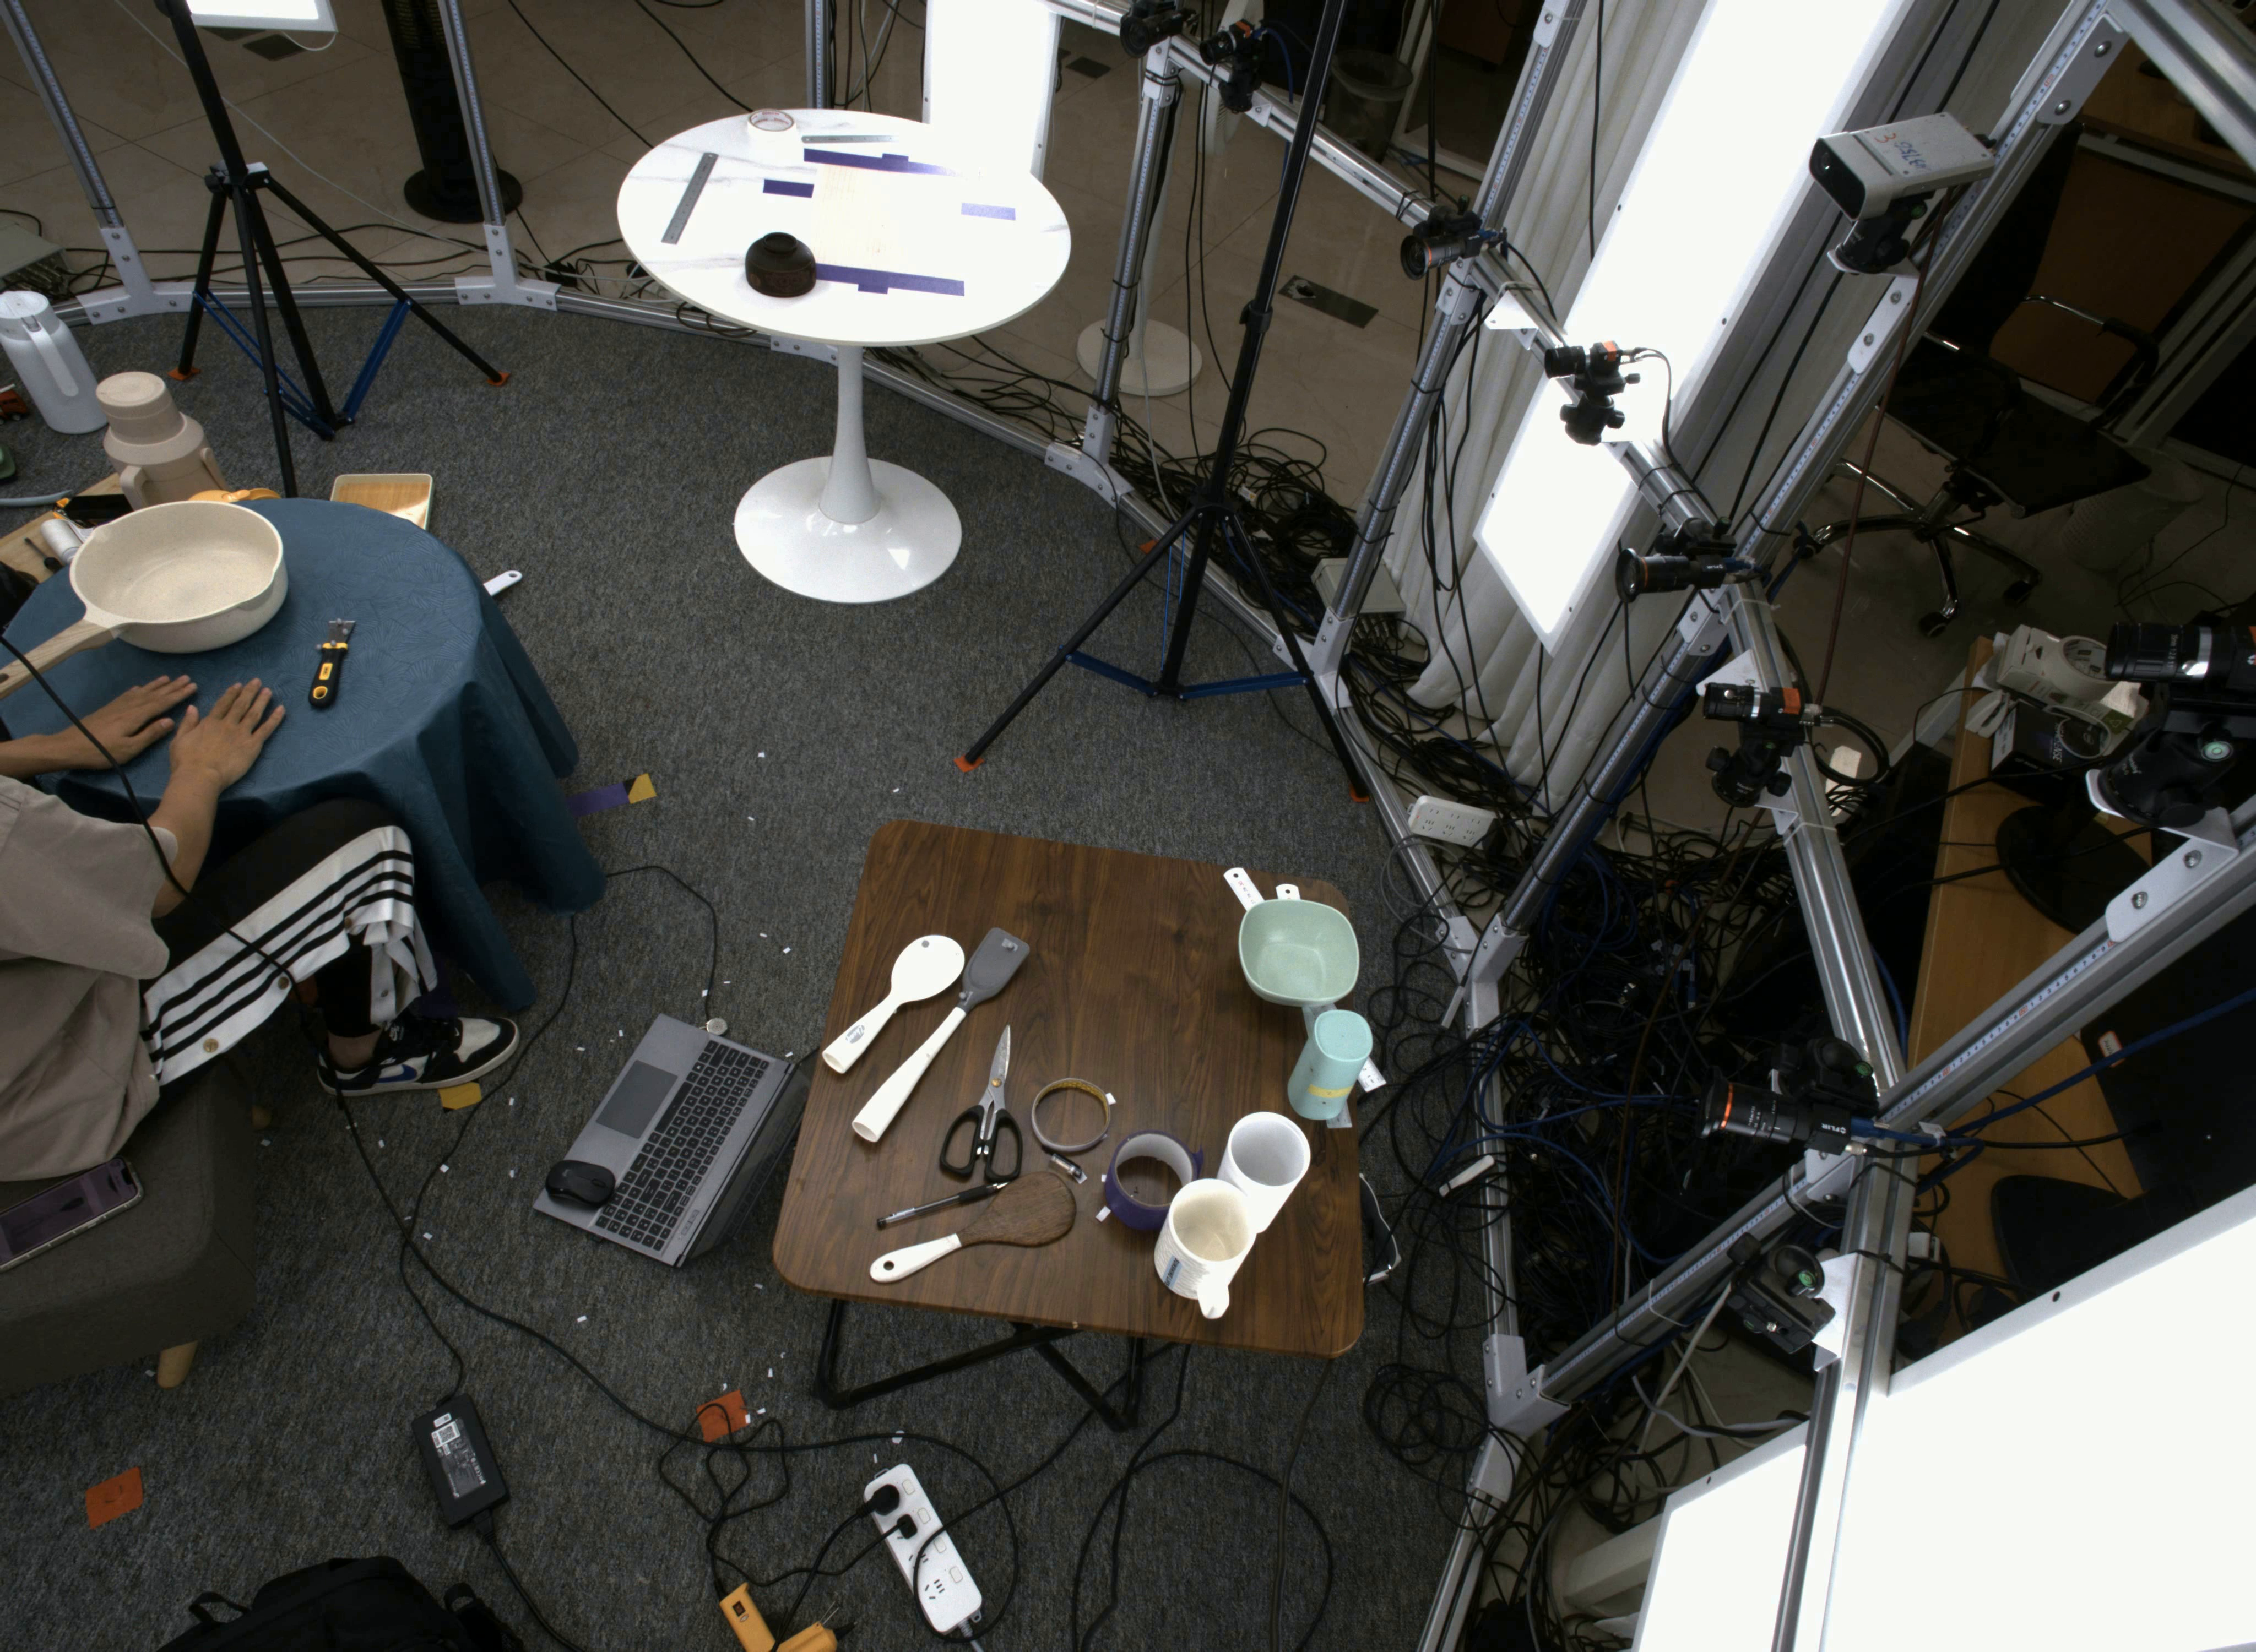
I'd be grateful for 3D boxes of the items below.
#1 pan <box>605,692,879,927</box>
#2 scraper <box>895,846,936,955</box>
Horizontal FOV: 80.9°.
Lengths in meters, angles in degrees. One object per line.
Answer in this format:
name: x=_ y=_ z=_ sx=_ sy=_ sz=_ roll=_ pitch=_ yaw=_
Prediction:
pan: x=-0.505 y=-0.002 z=1.657 sx=0.259 sy=0.104 sz=0.434 roll=33 pitch=54 yaw=9
scraper: x=-0.277 y=0.094 z=1.690 sx=0.039 sy=0.015 sz=0.168 roll=10 pitch=50 yaw=-10
